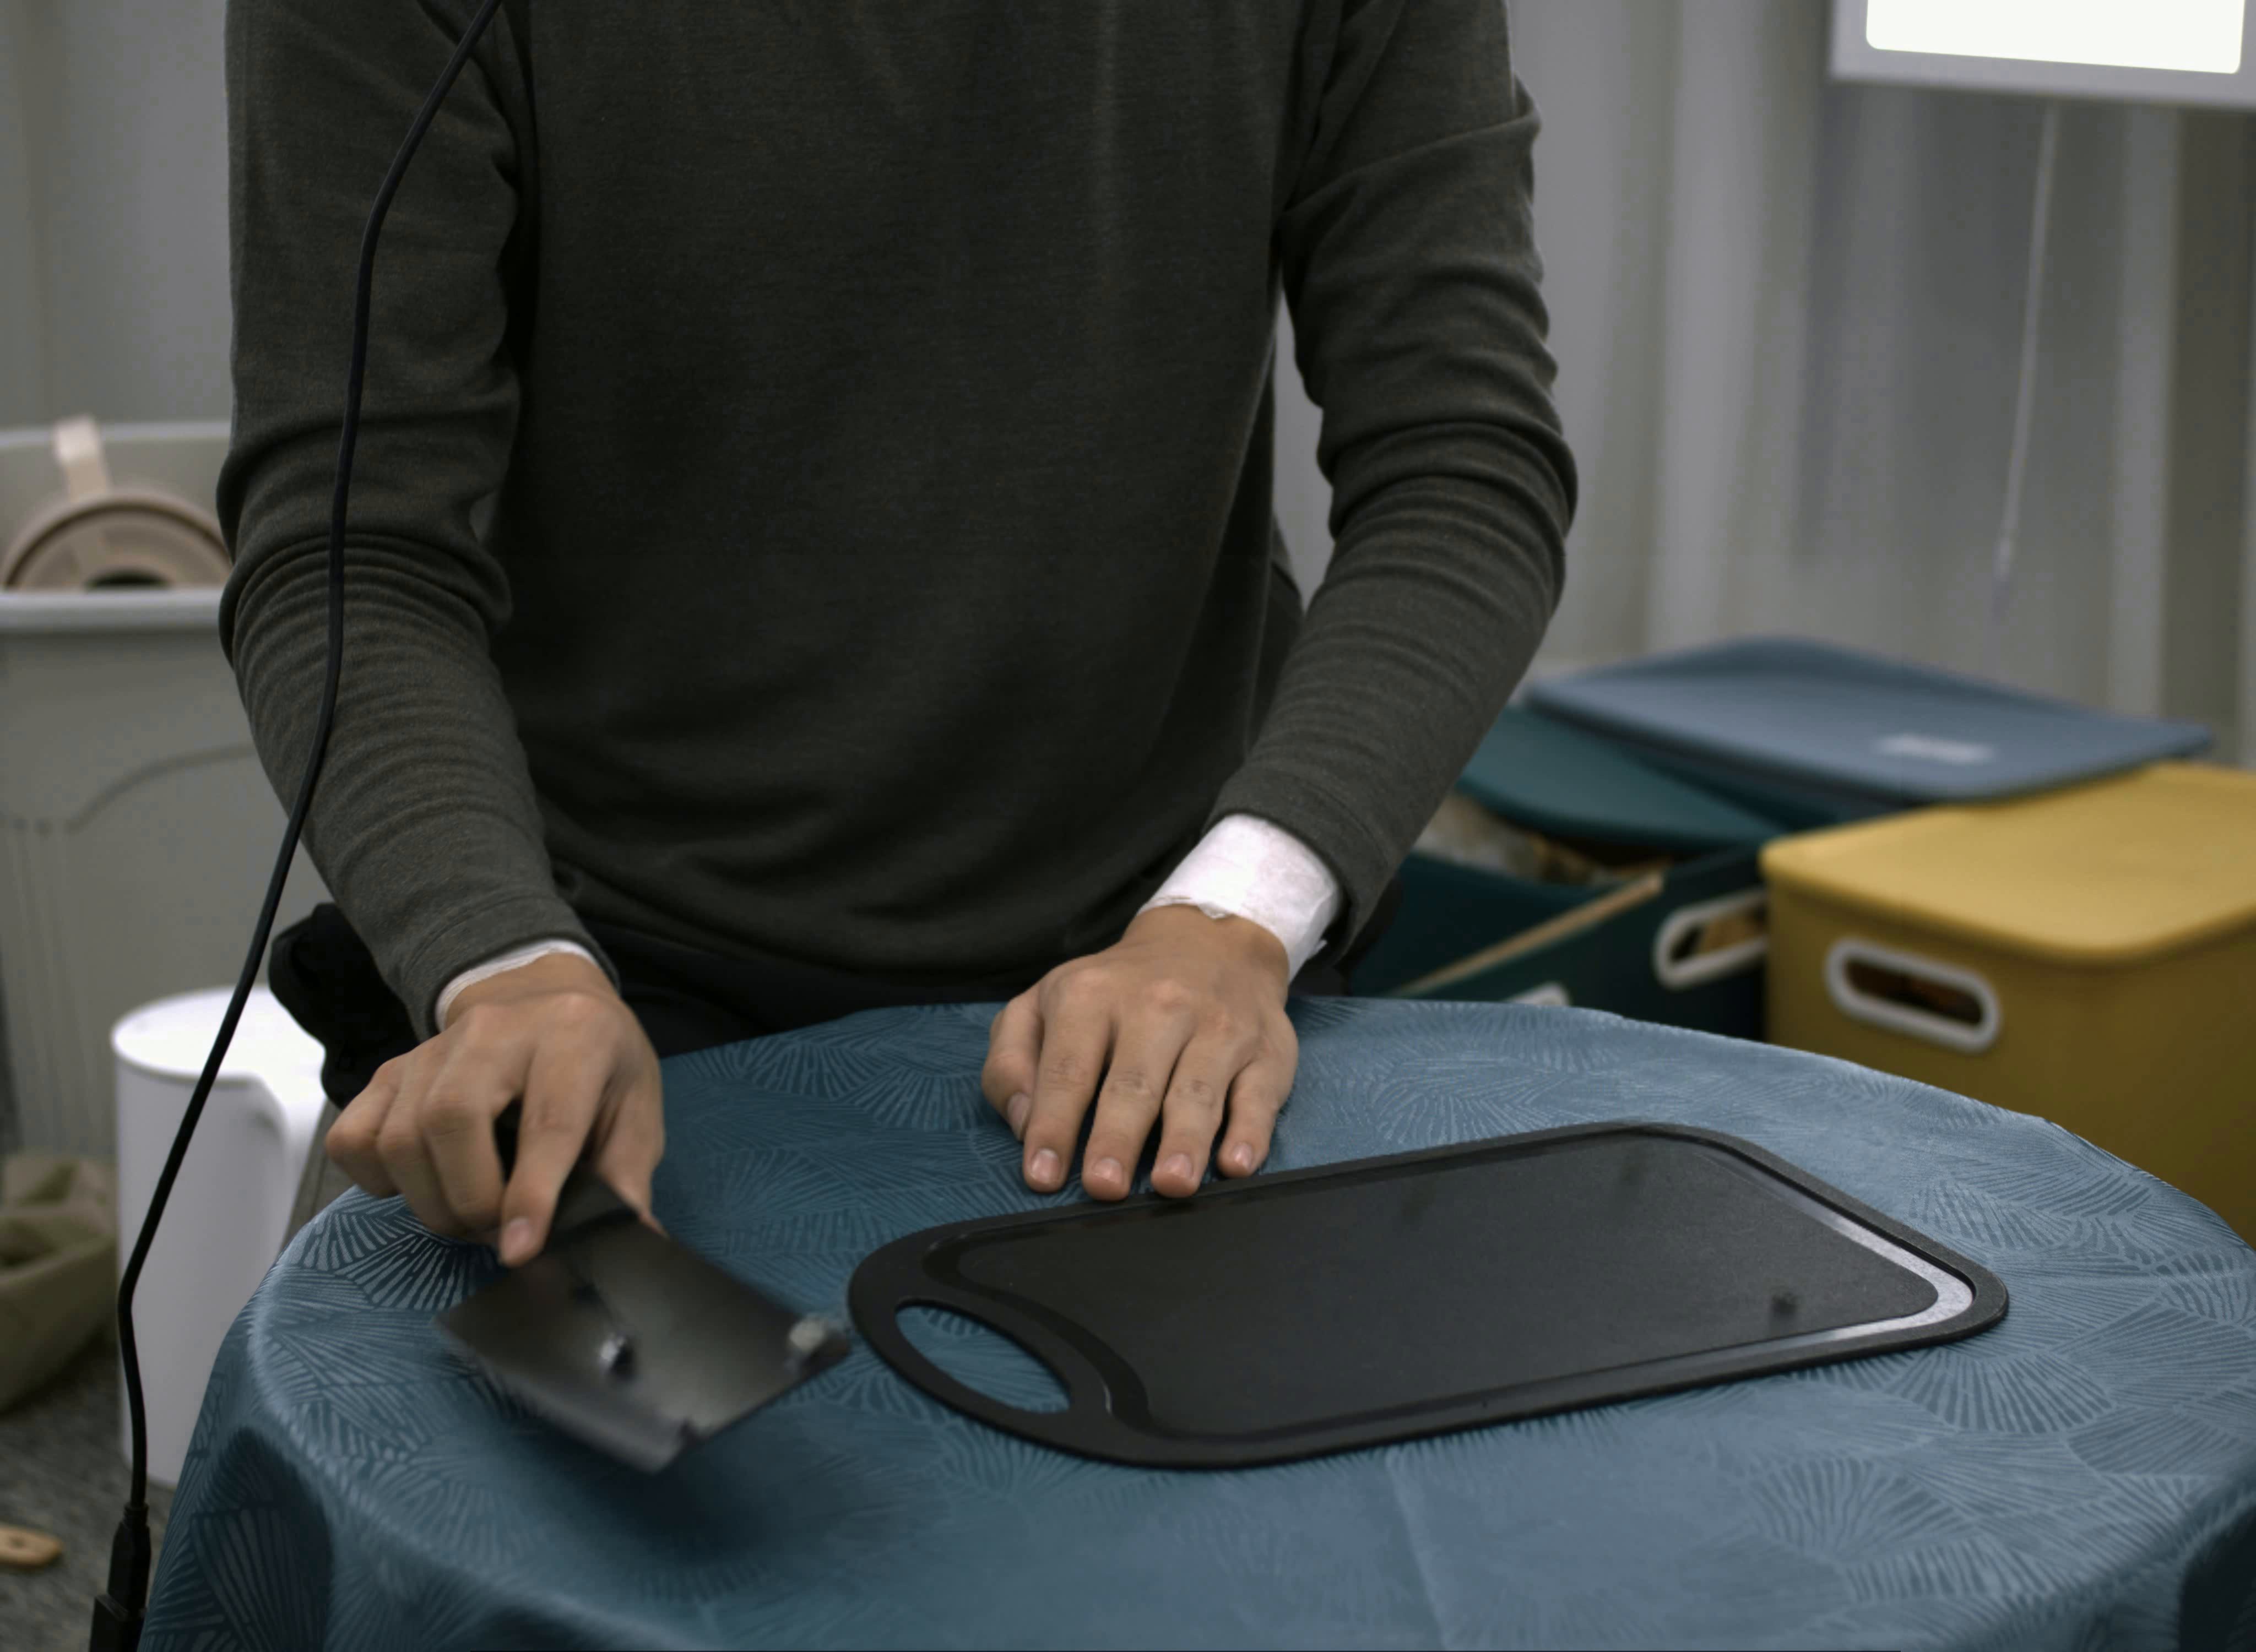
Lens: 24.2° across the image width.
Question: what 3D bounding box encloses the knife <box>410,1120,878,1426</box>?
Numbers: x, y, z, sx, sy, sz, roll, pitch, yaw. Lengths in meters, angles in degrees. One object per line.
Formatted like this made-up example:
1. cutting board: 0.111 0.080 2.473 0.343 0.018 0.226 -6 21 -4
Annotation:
1. knife: -0.151 0.122 1.468 0.081 0.021 0.299 -26 17 -17

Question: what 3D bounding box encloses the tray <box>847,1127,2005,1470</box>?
1. tray: 0.081 0.134 1.540 0.326 0.010 0.208 -7 16 -25
